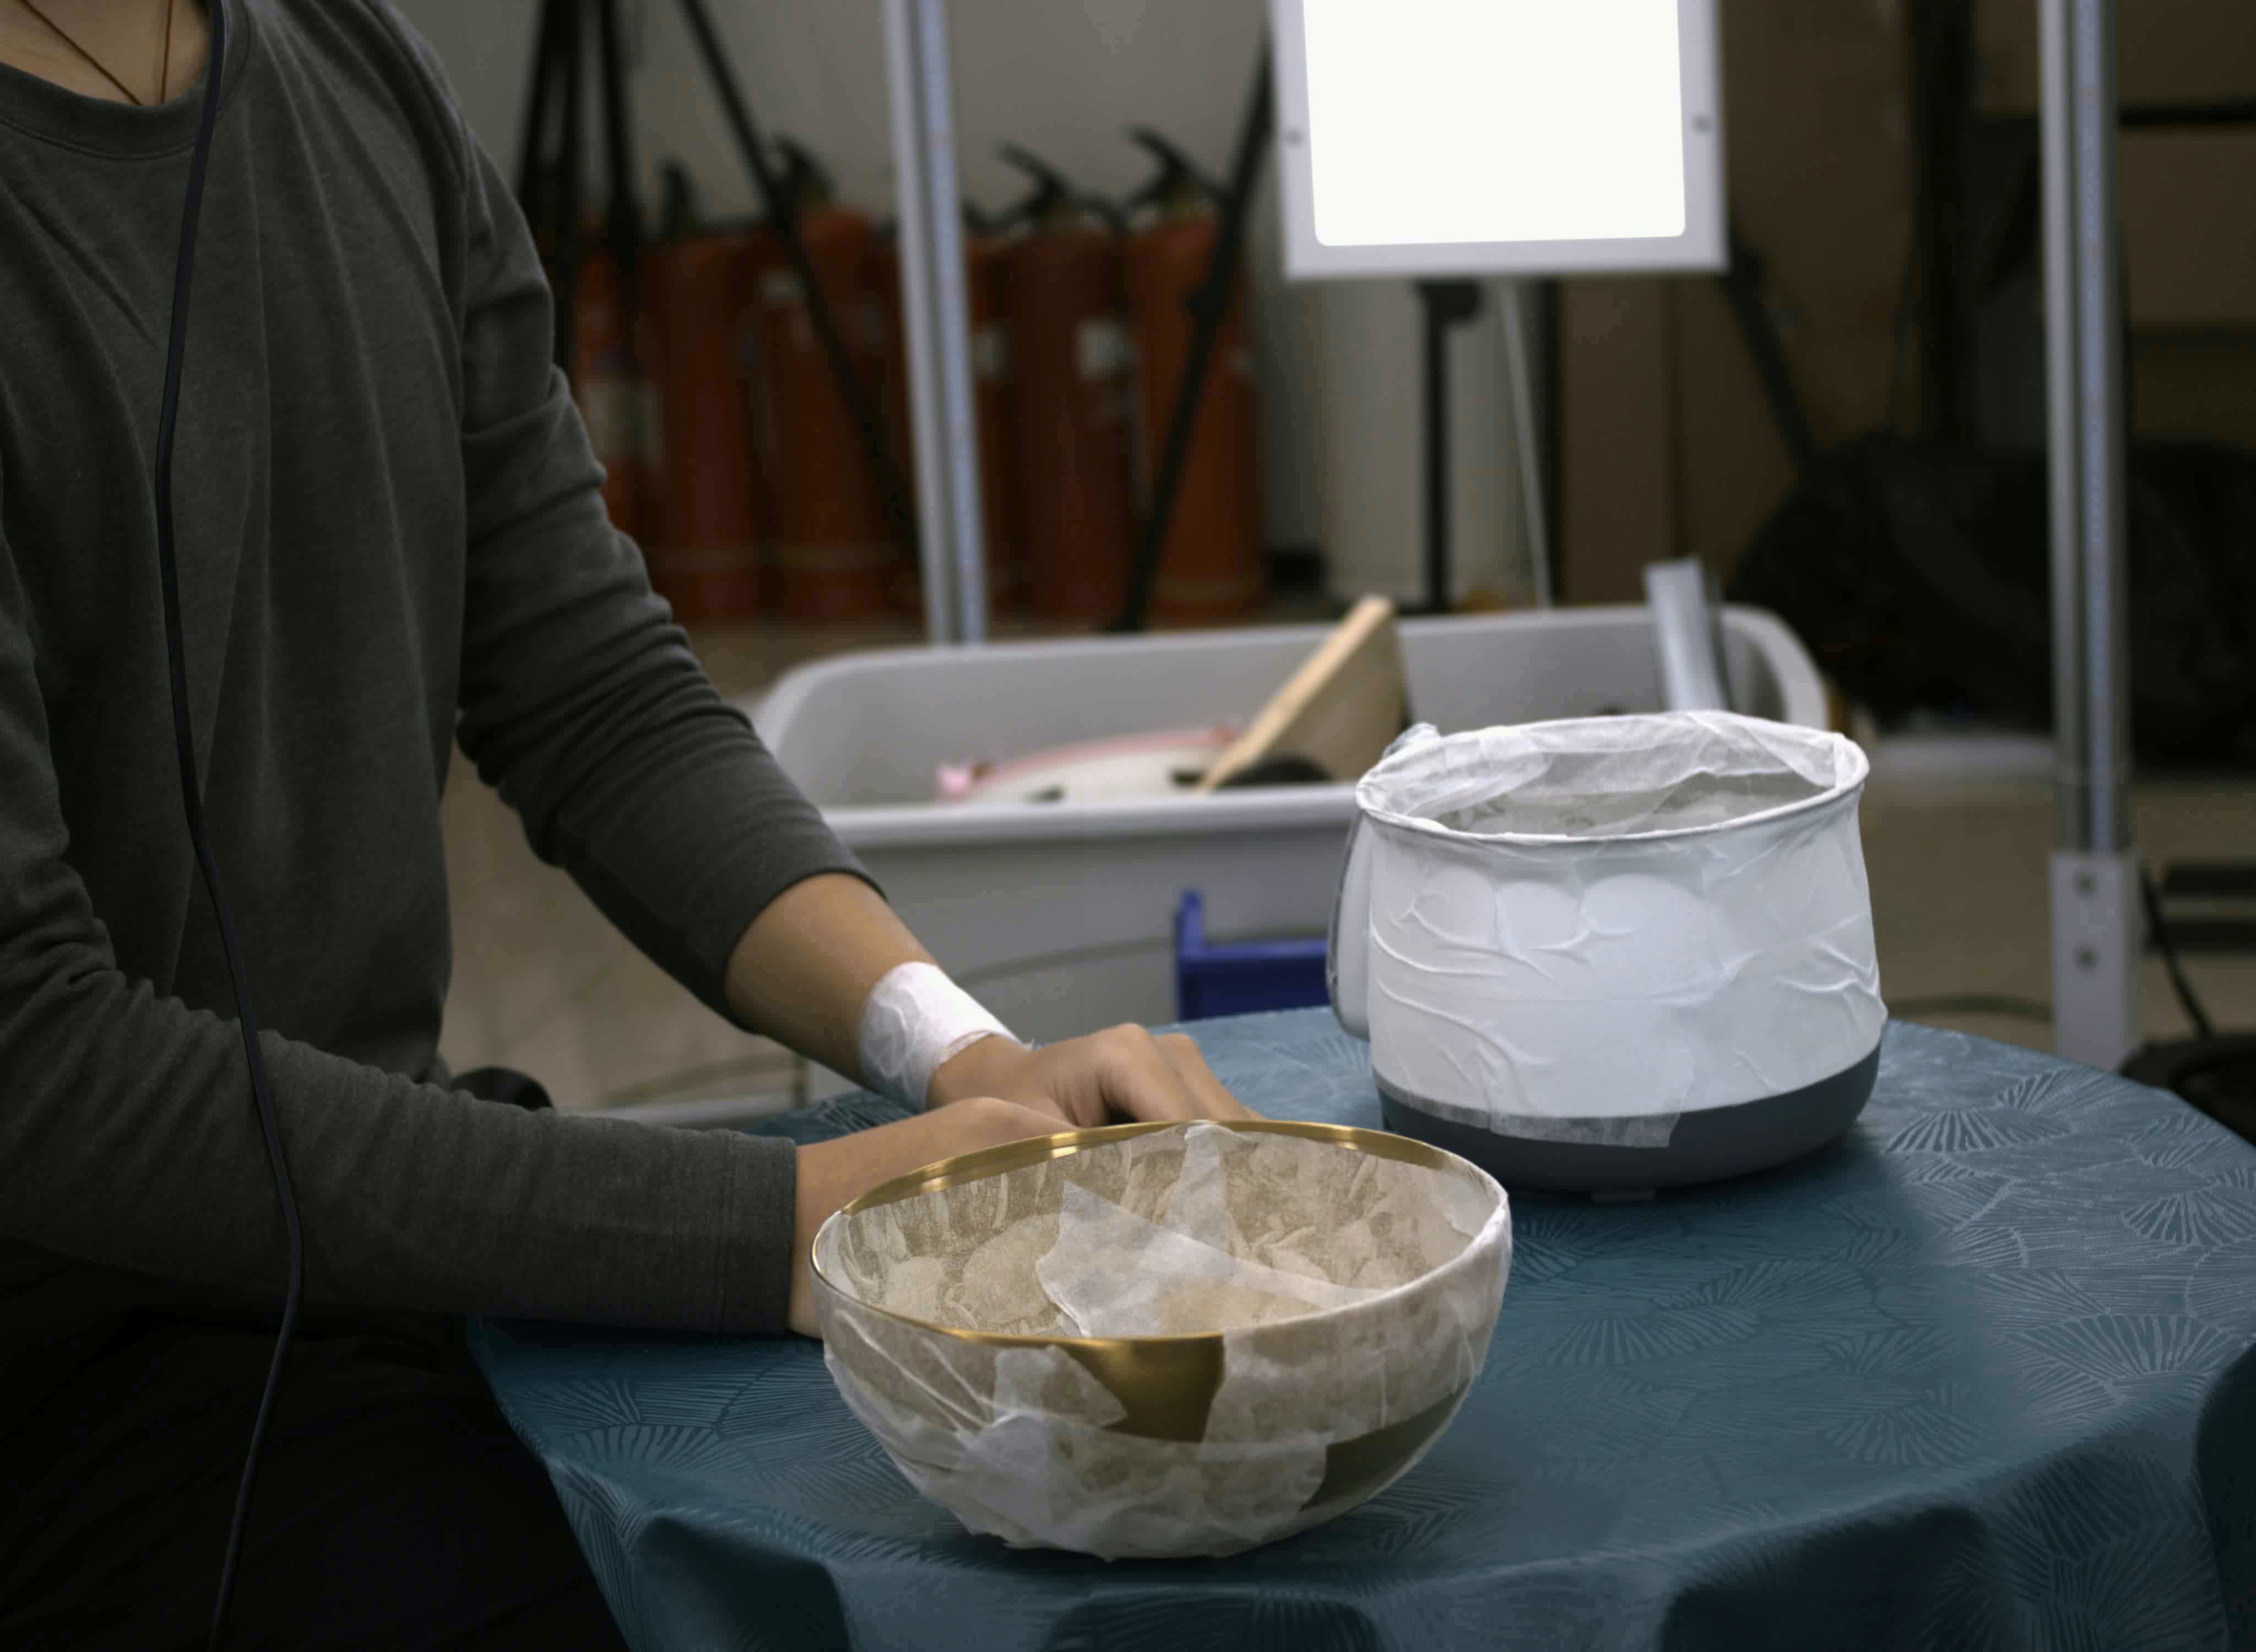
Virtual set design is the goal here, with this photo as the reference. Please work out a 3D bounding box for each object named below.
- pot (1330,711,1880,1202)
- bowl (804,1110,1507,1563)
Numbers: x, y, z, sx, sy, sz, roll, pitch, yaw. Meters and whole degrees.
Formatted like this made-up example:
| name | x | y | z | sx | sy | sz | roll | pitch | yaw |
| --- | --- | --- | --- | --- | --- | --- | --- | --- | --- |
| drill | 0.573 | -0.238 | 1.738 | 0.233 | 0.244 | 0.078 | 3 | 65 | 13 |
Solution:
| name | x | y | z | sx | sy | sz | roll | pitch | yaw |
| --- | --- | --- | --- | --- | --- | --- | --- | --- | --- |
| pot | 0.153 | 0.039 | 1.915 | 0.174 | 0.137 | 0.238 | -15 | 17 | -36 |
| bowl | 0.009 | 0.155 | 1.587 | 0.214 | 0.095 | 0.214 | -7 | 14 | 0 |
